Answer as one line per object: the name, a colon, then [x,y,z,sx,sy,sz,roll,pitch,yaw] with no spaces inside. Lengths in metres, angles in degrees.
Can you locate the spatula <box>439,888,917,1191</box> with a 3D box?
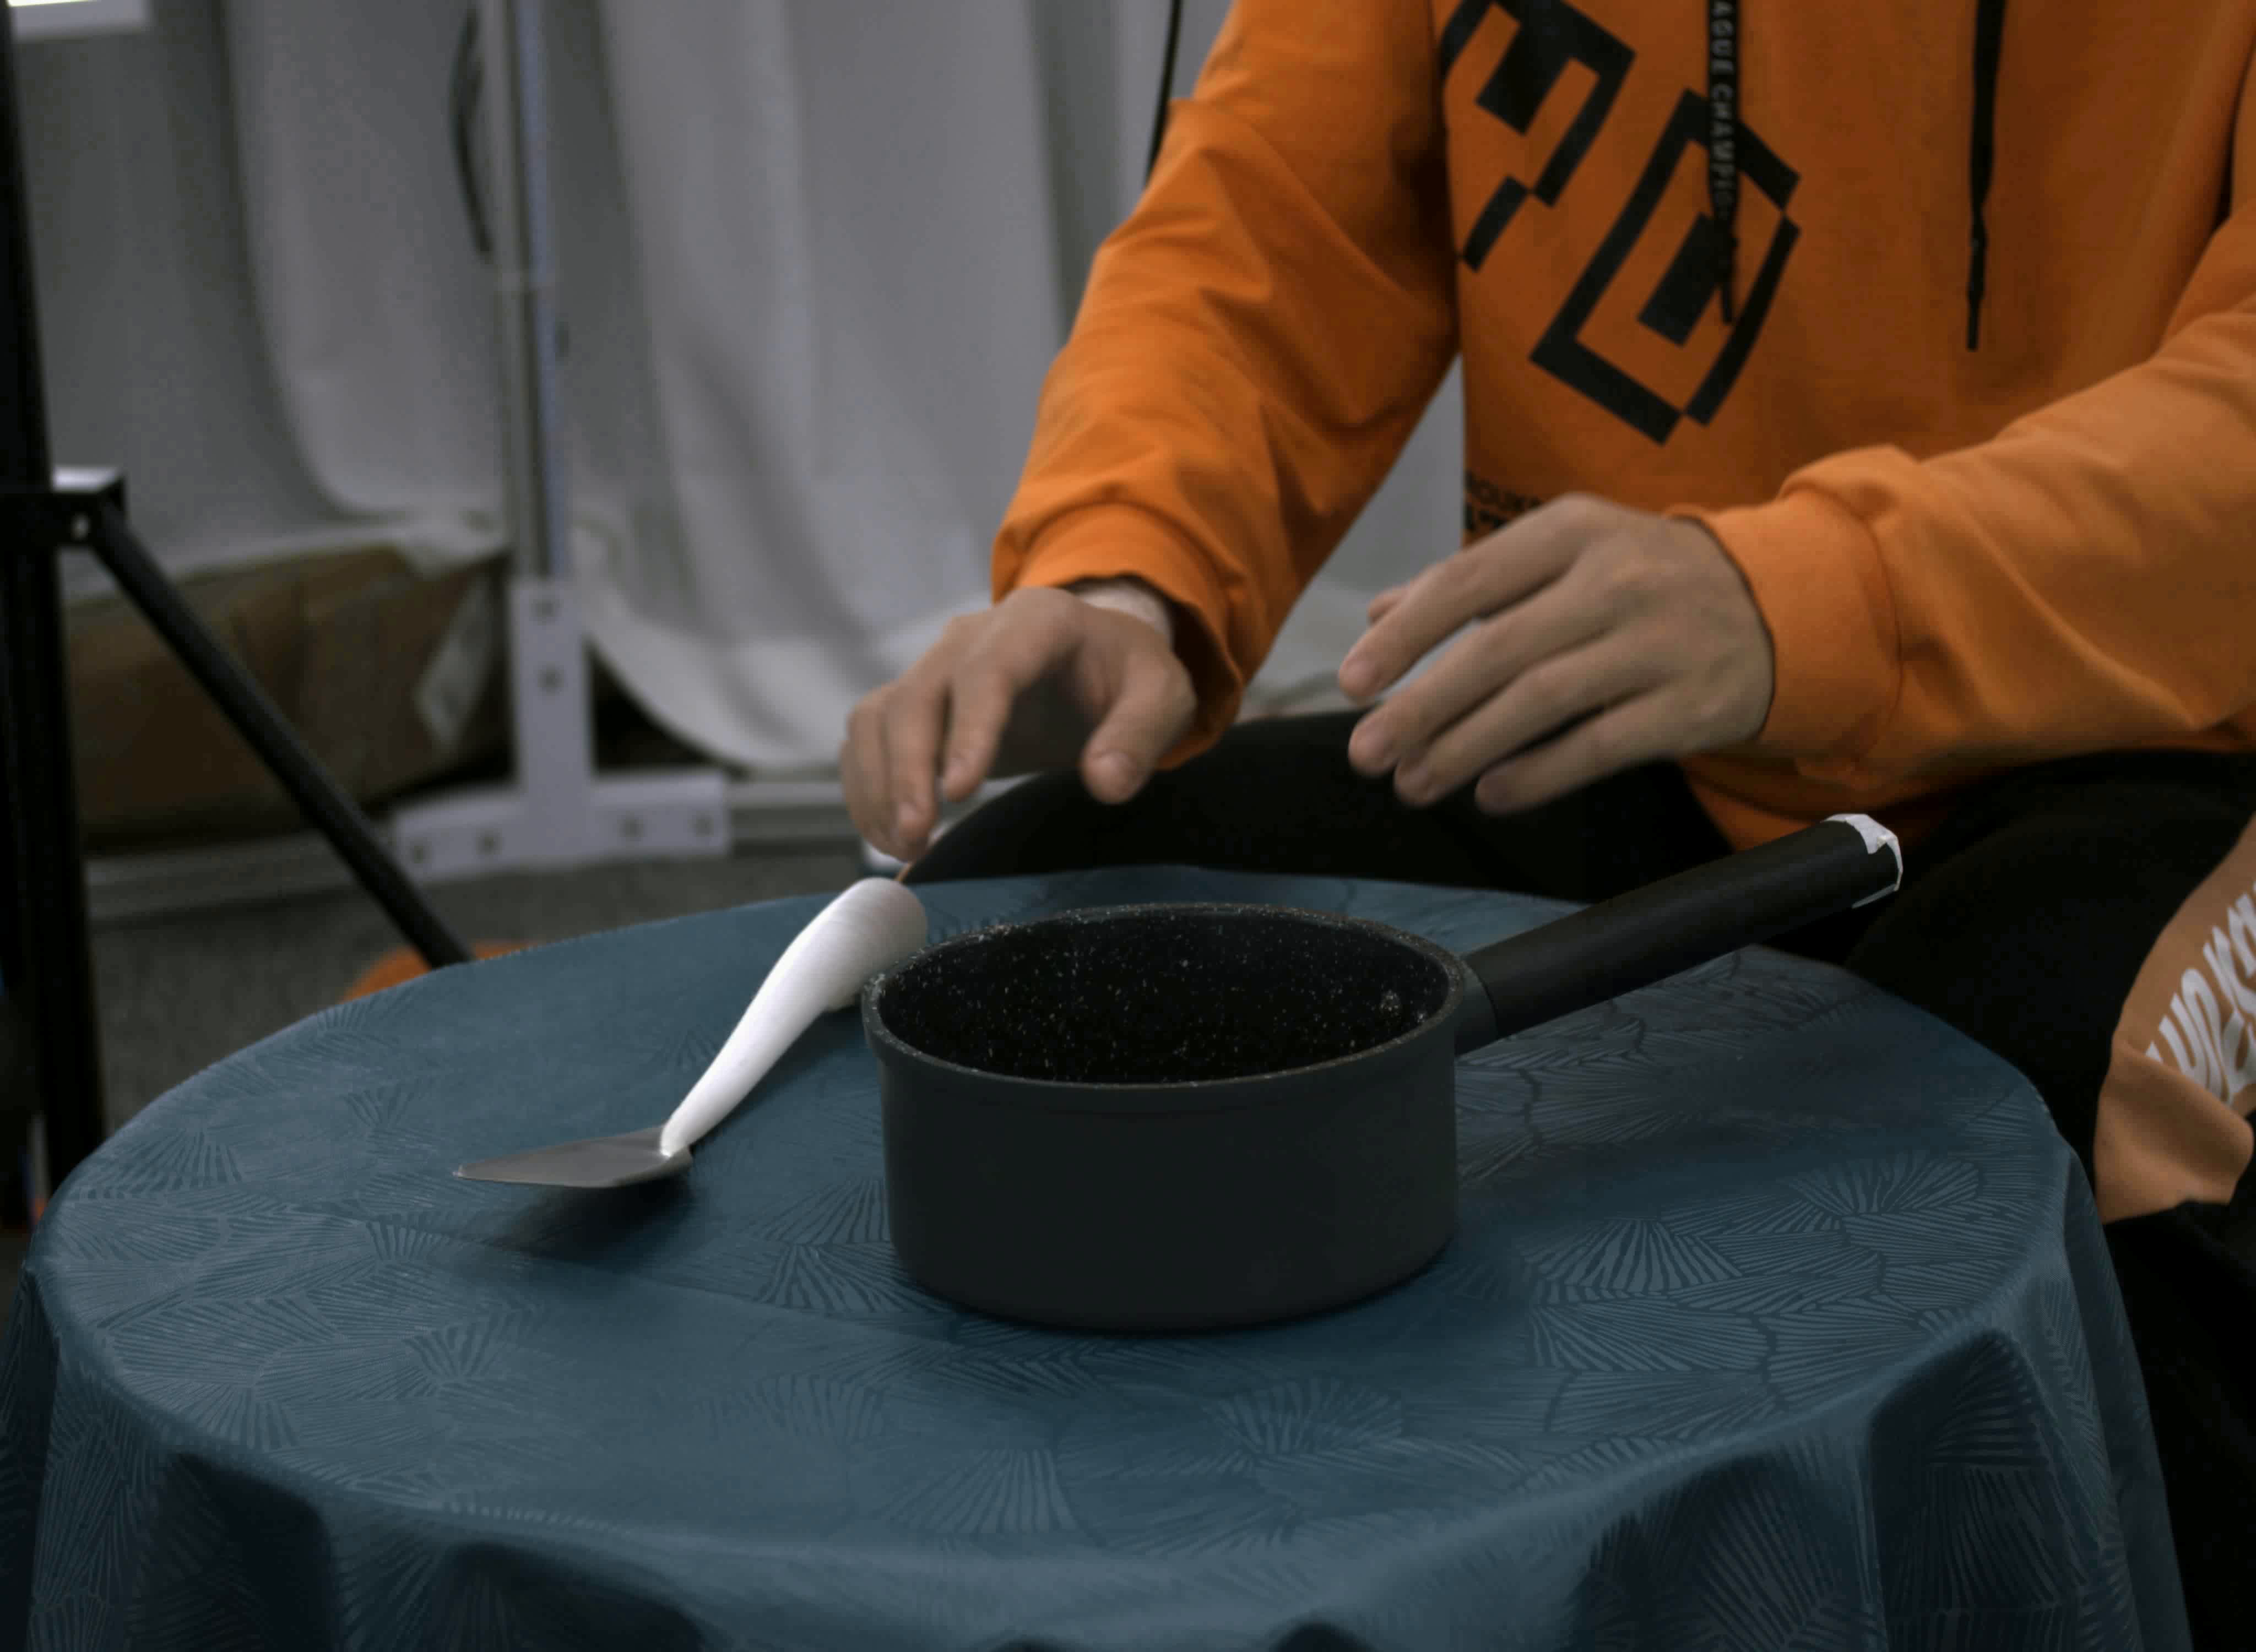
spatula: [-0.128,0.073,1.645,0.059,0.032,0.284,7,17,17]

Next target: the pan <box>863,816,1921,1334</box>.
pan: [0.083,0.067,1.534,0.322,0.086,0.175,-11,18,-20]
